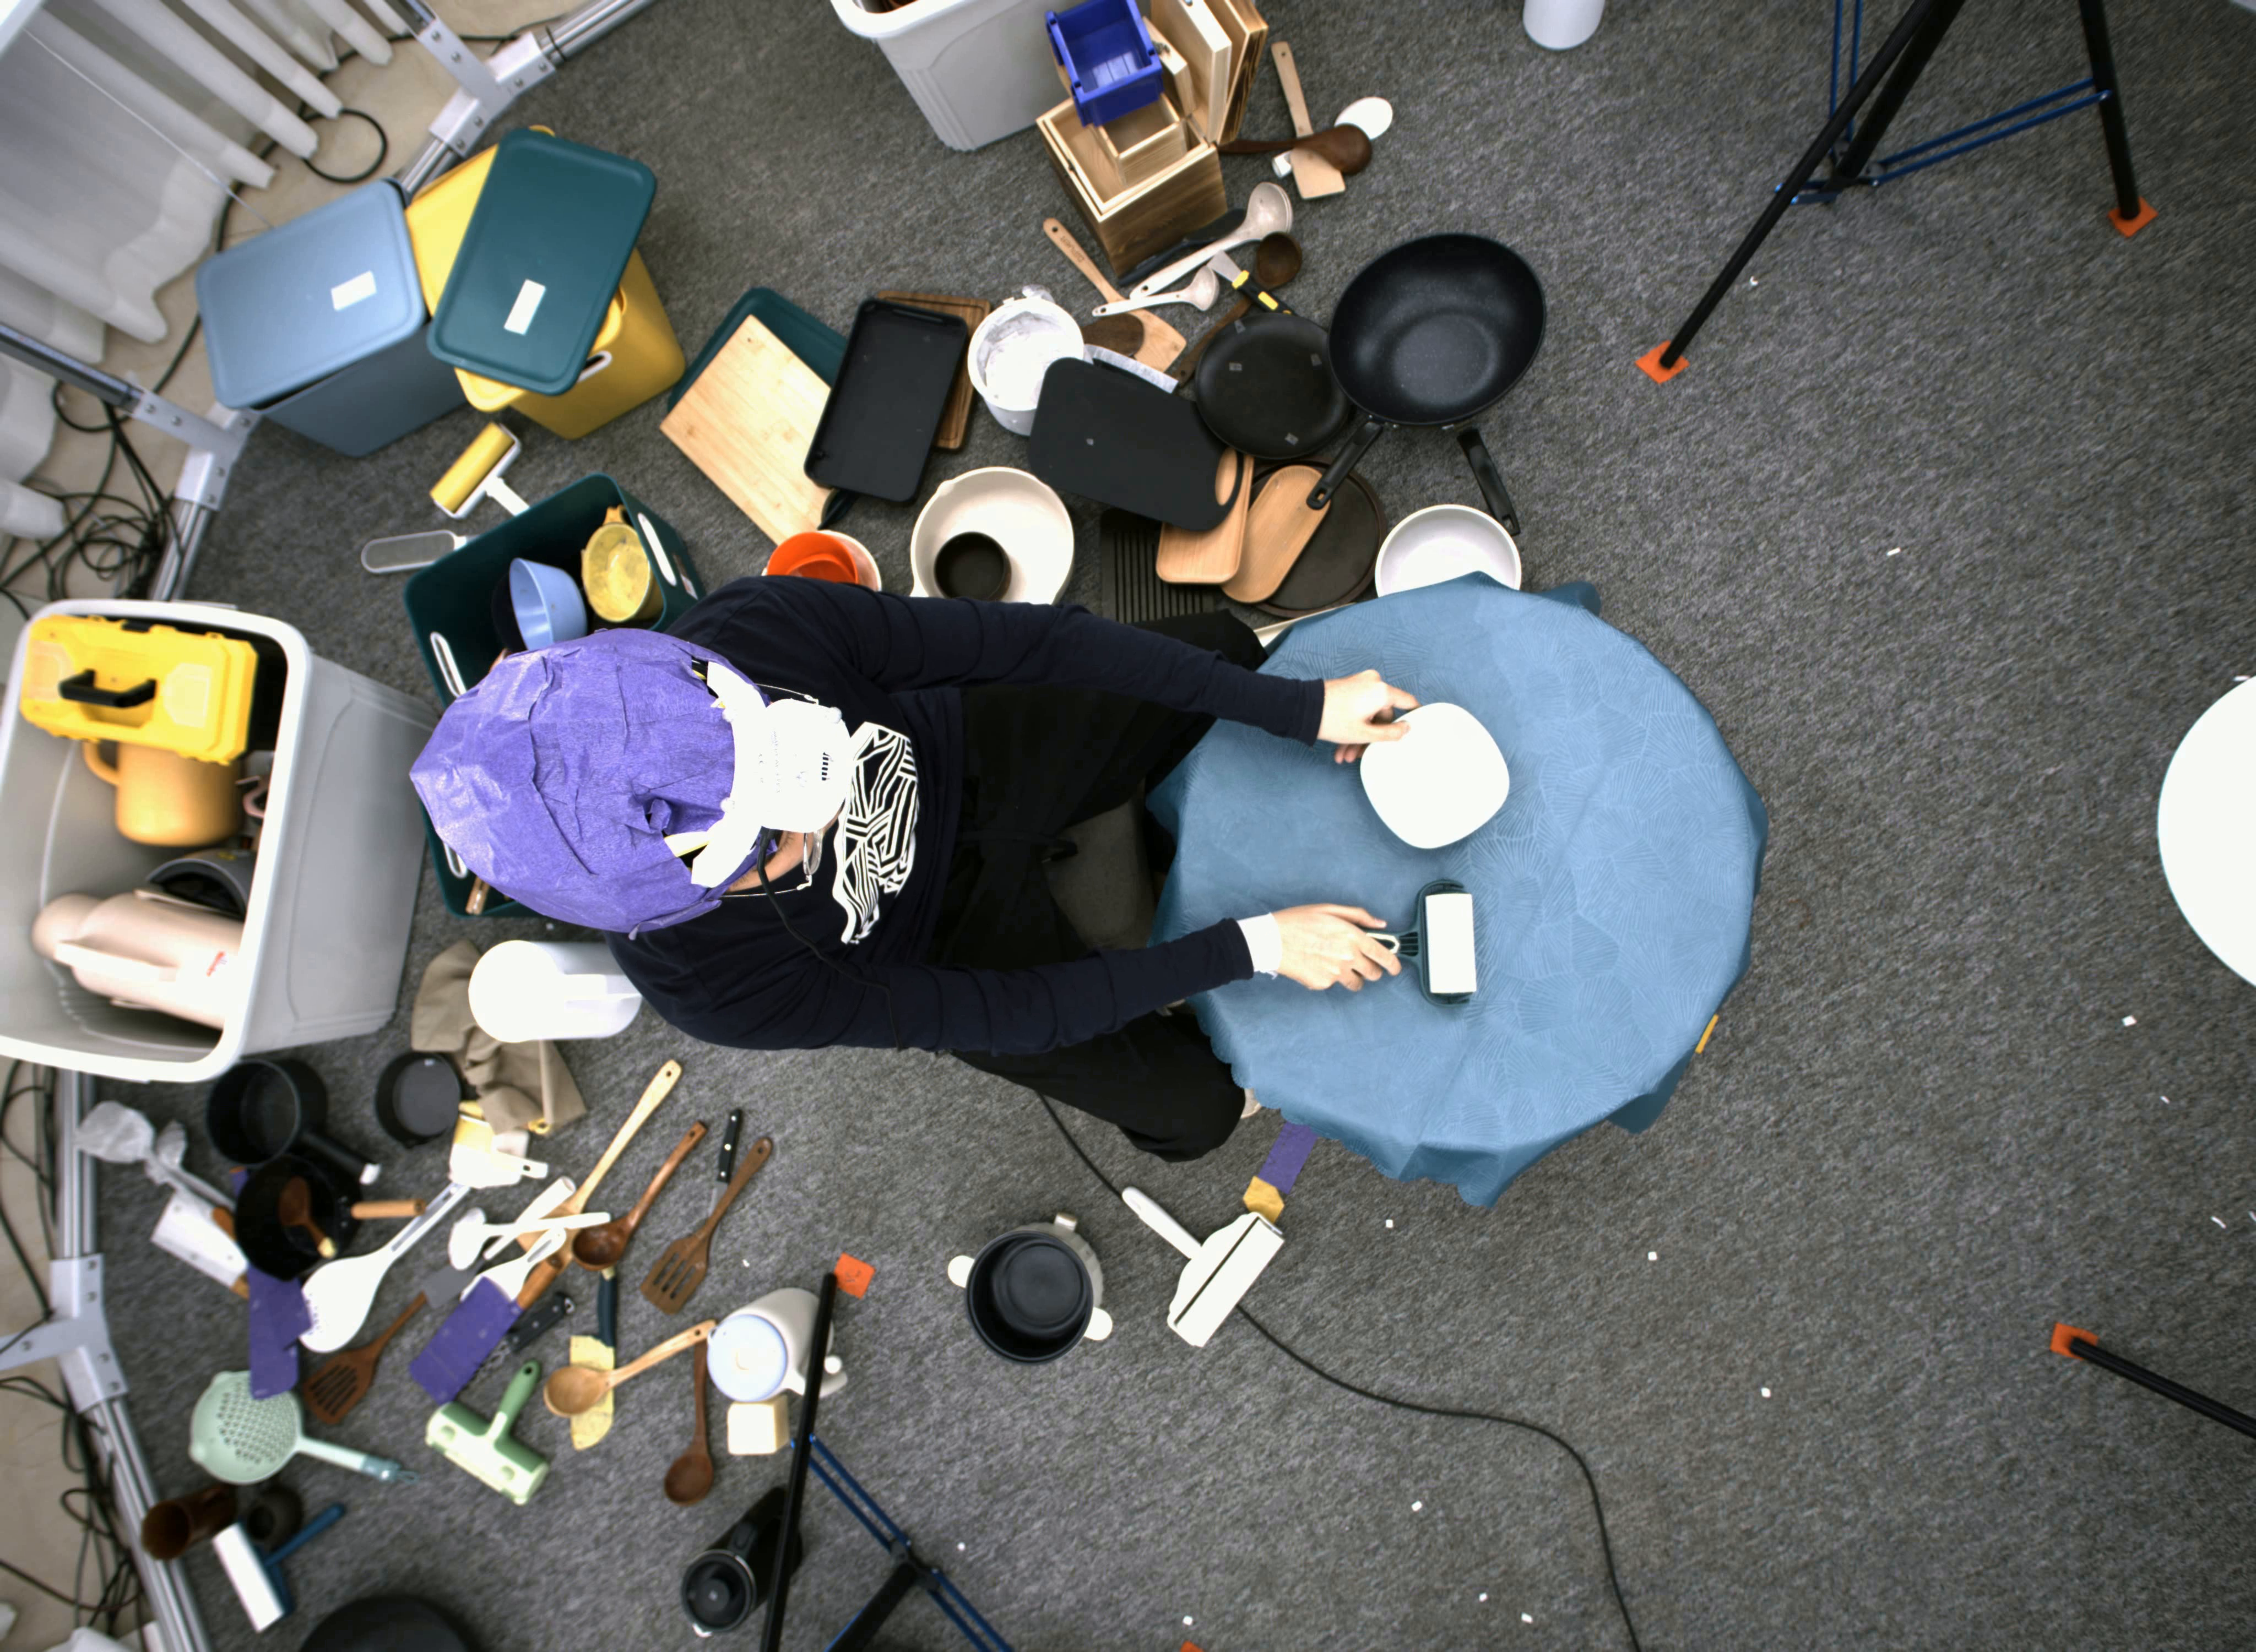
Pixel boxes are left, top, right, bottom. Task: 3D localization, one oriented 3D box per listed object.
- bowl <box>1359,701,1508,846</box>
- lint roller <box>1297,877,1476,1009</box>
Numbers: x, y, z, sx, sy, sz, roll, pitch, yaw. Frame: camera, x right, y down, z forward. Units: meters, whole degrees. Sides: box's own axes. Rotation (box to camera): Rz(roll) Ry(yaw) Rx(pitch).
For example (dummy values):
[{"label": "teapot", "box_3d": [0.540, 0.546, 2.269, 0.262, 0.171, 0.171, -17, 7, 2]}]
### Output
[{"label": "bowl", "box_3d": [0.315, -0.052, 1.430, 0.152, 0.059, 0.151, -1, 86, 8]}, {"label": "lint roller", "box_3d": [0.266, 0.122, 1.422, 0.180, 0.048, 0.133, -2, 86, 1]}]
